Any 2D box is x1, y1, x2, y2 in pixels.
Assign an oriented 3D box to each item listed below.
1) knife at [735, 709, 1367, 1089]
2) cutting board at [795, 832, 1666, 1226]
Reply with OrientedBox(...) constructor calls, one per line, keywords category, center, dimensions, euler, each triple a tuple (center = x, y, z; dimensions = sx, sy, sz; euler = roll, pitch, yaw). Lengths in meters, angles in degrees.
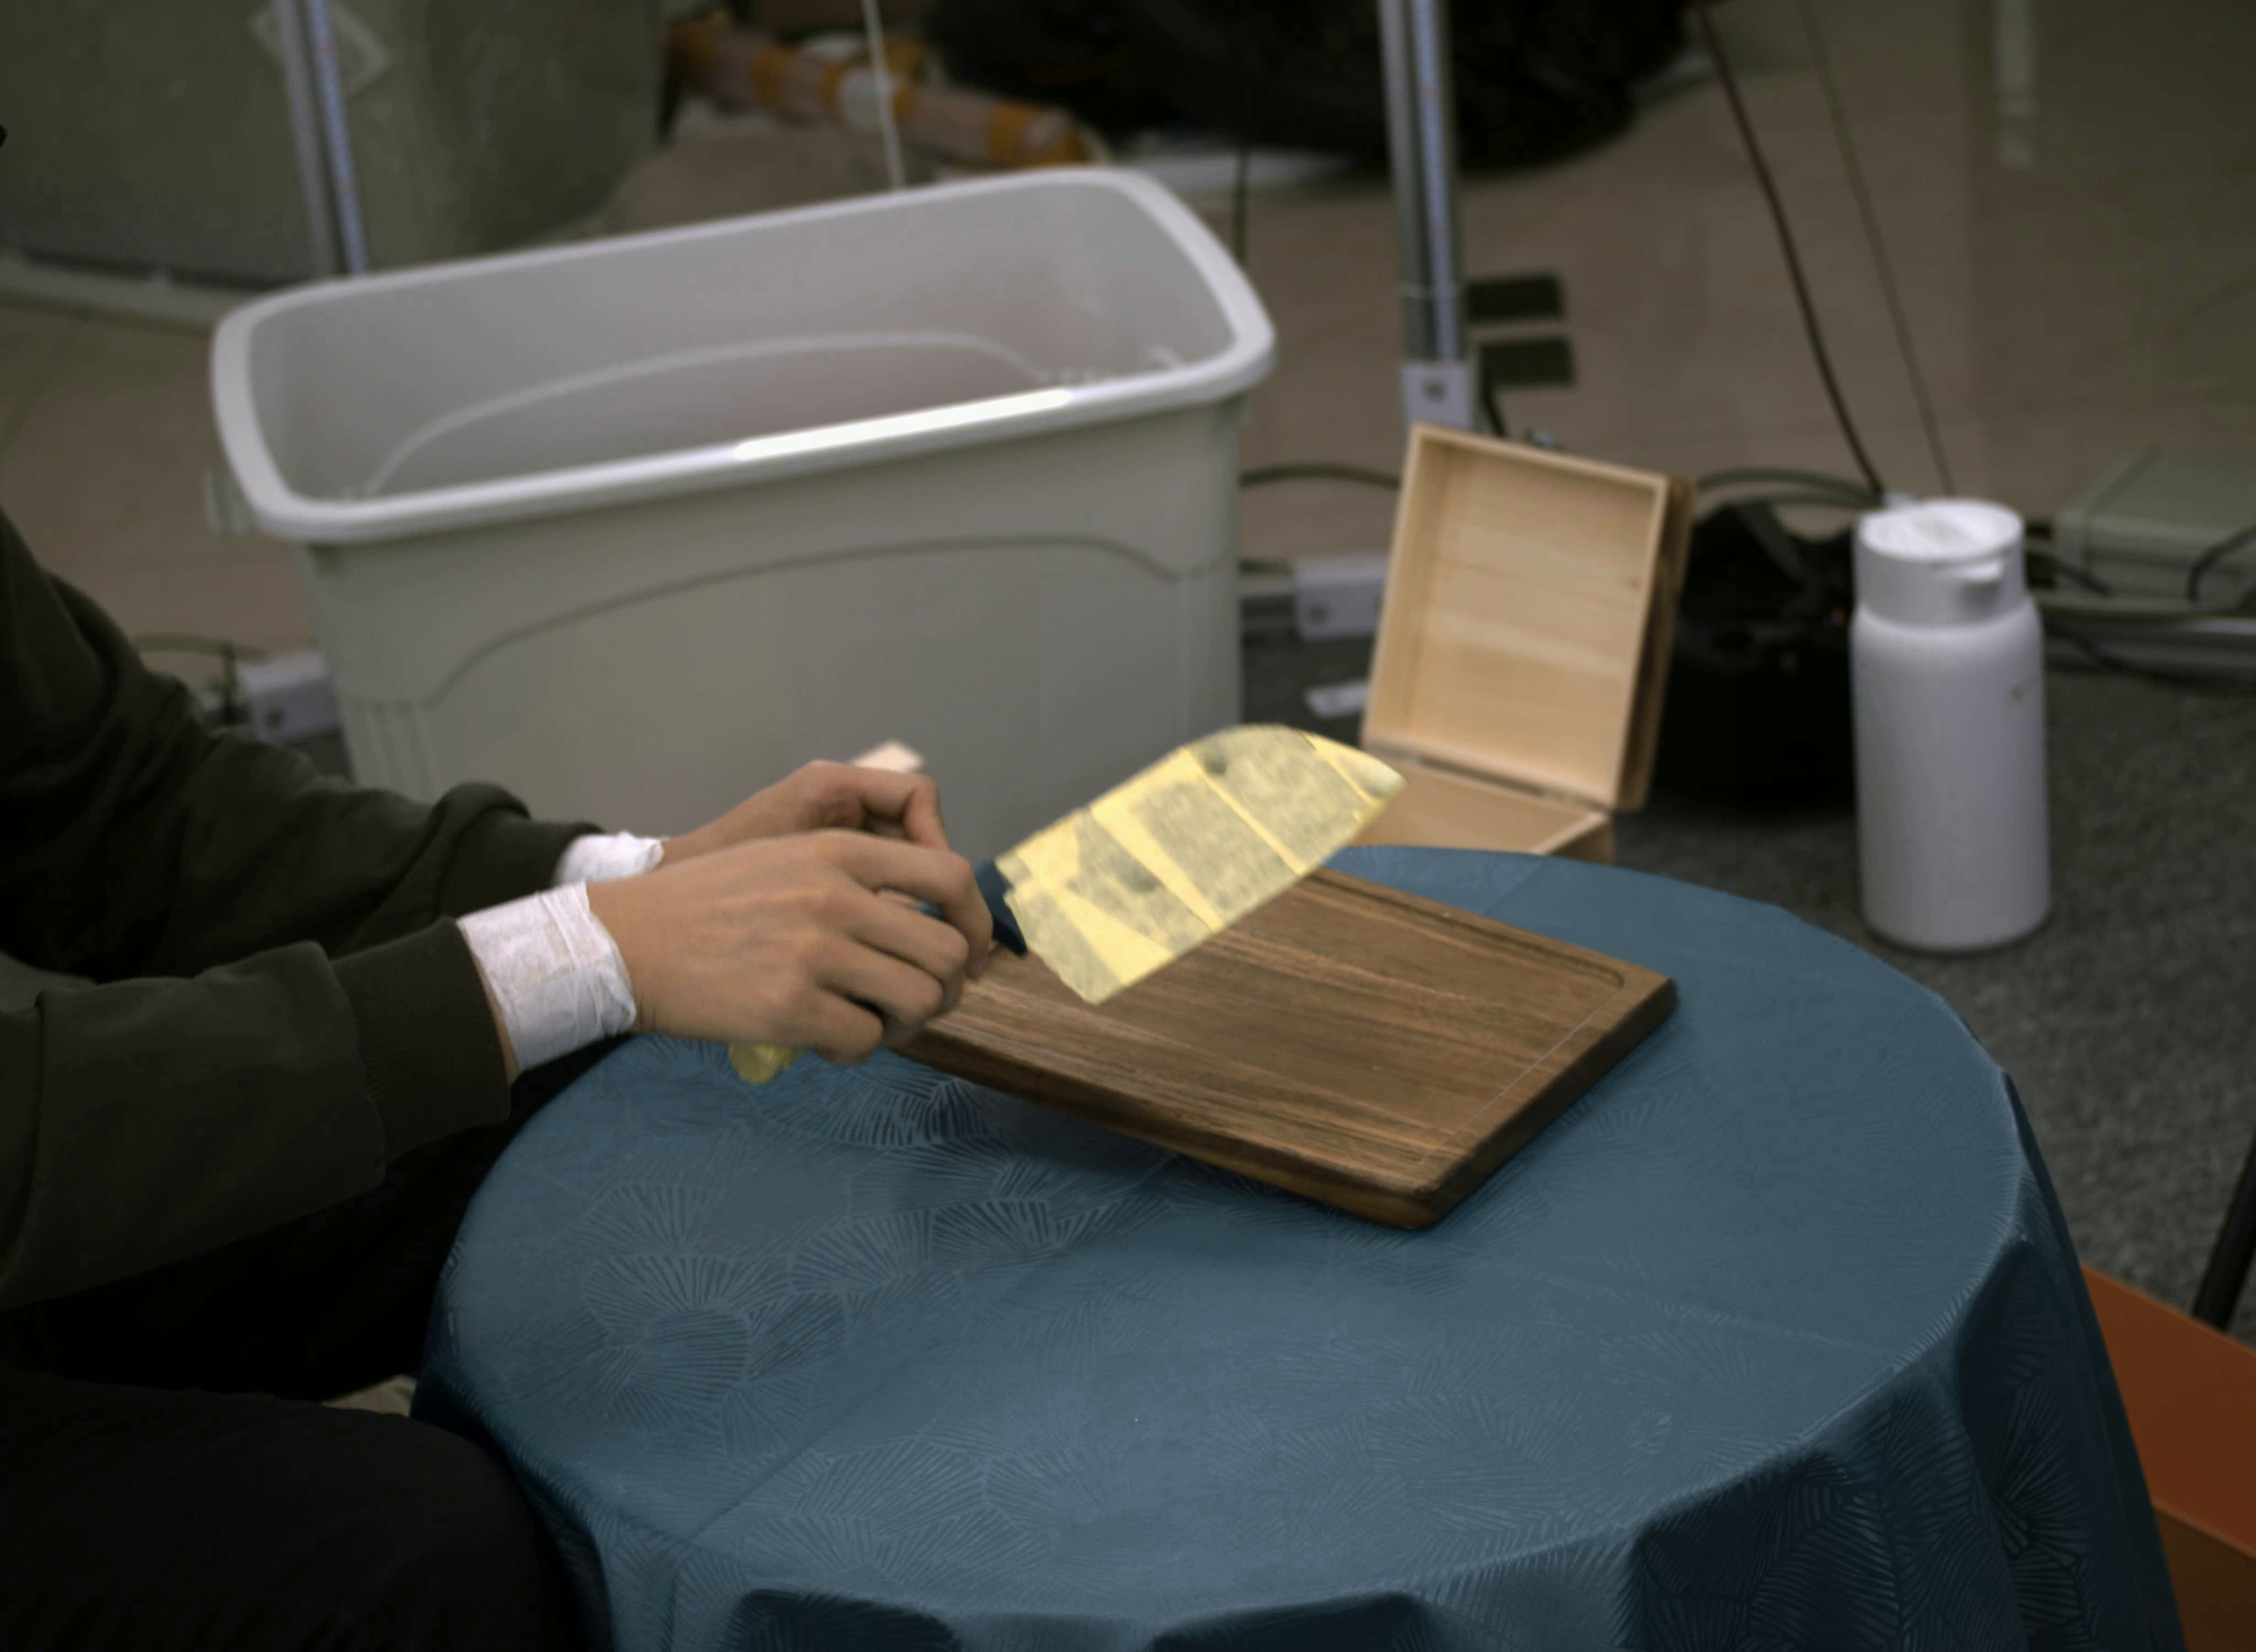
OrientedBox(category="knife", center=(-0.022, 0.030, 2.111), dimensions=(0.287, 0.028, 0.080), euler=(-30, 64, -26))
OrientedBox(category="cutting board", center=(0.016, 0.059, 2.242), dimensions=(0.350, 0.023, 0.199), euler=(17, 33, 28))
